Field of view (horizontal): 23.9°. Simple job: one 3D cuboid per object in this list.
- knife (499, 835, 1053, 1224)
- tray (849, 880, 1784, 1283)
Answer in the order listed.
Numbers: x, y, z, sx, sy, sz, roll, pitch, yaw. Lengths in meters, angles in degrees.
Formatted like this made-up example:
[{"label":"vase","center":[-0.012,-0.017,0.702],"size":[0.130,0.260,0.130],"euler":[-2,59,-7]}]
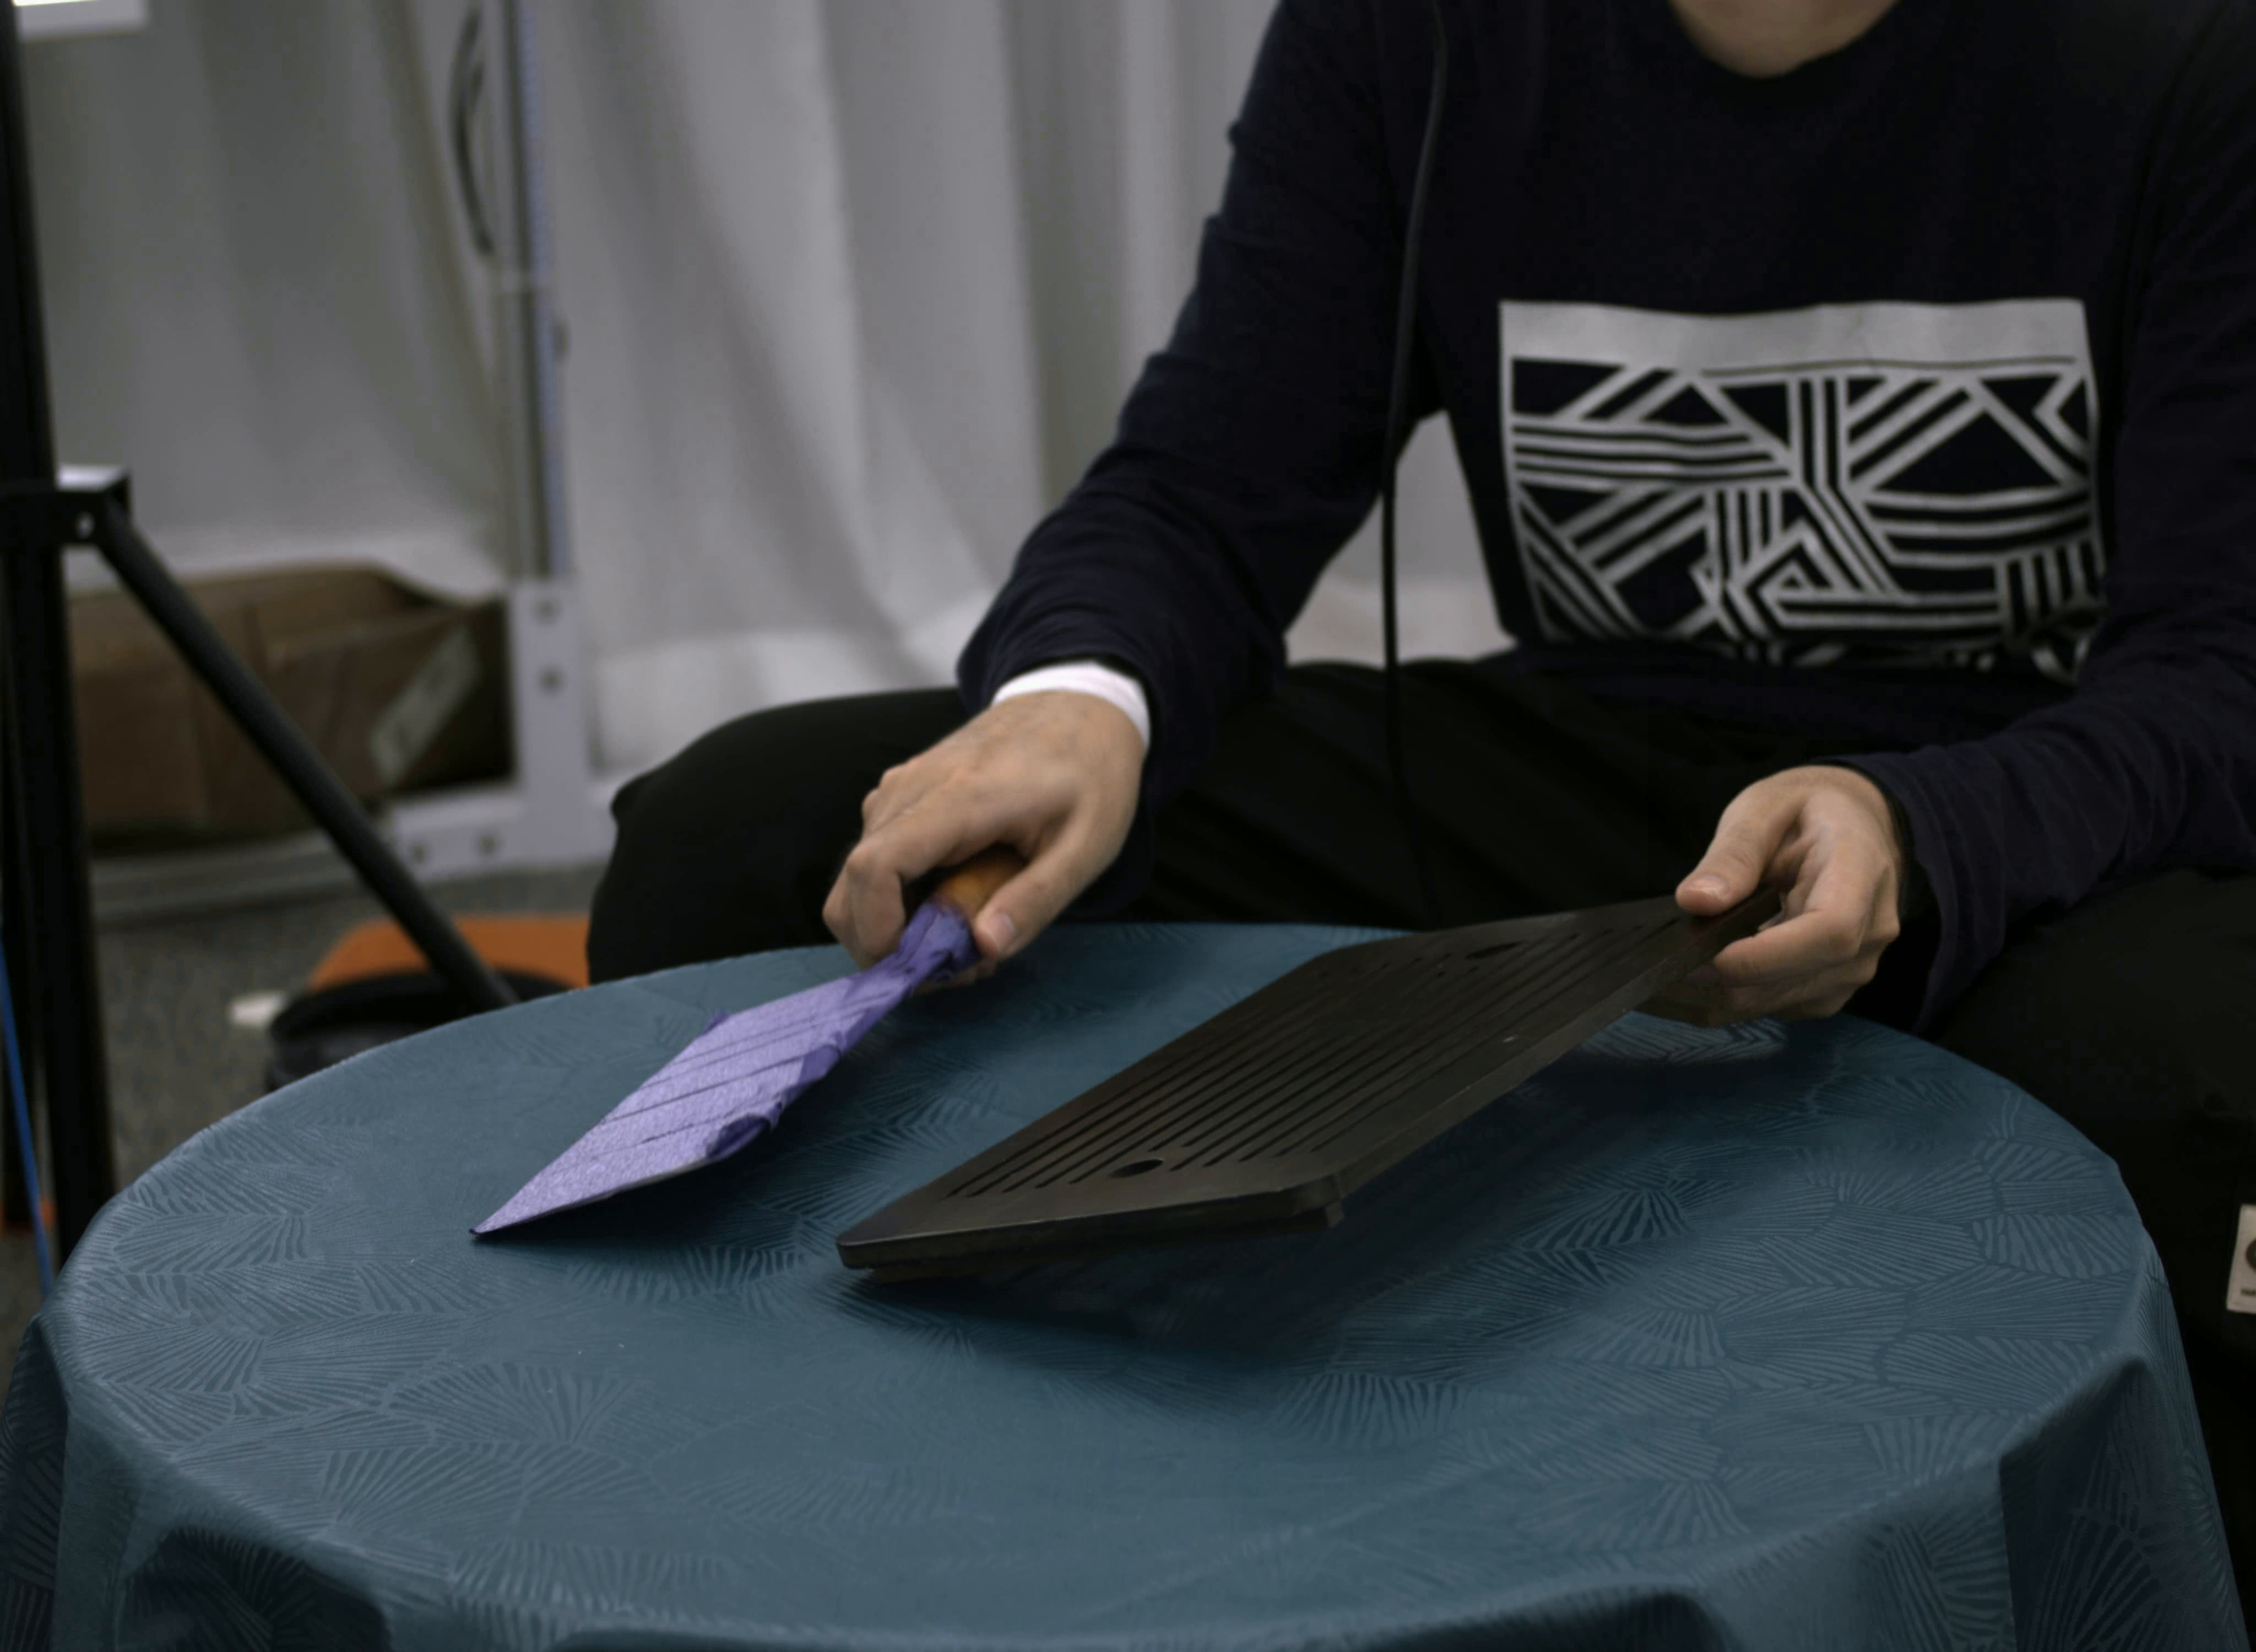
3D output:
[{"label":"knife","center":[-0.108,0.061,1.667],"size":[0.105,0.032,0.312],"euler":[-16,8,20]},{"label":"tray","center":[0.063,0.074,1.559],"size":[0.173,0.018,0.300],"euler":[-10,9,34]}]
